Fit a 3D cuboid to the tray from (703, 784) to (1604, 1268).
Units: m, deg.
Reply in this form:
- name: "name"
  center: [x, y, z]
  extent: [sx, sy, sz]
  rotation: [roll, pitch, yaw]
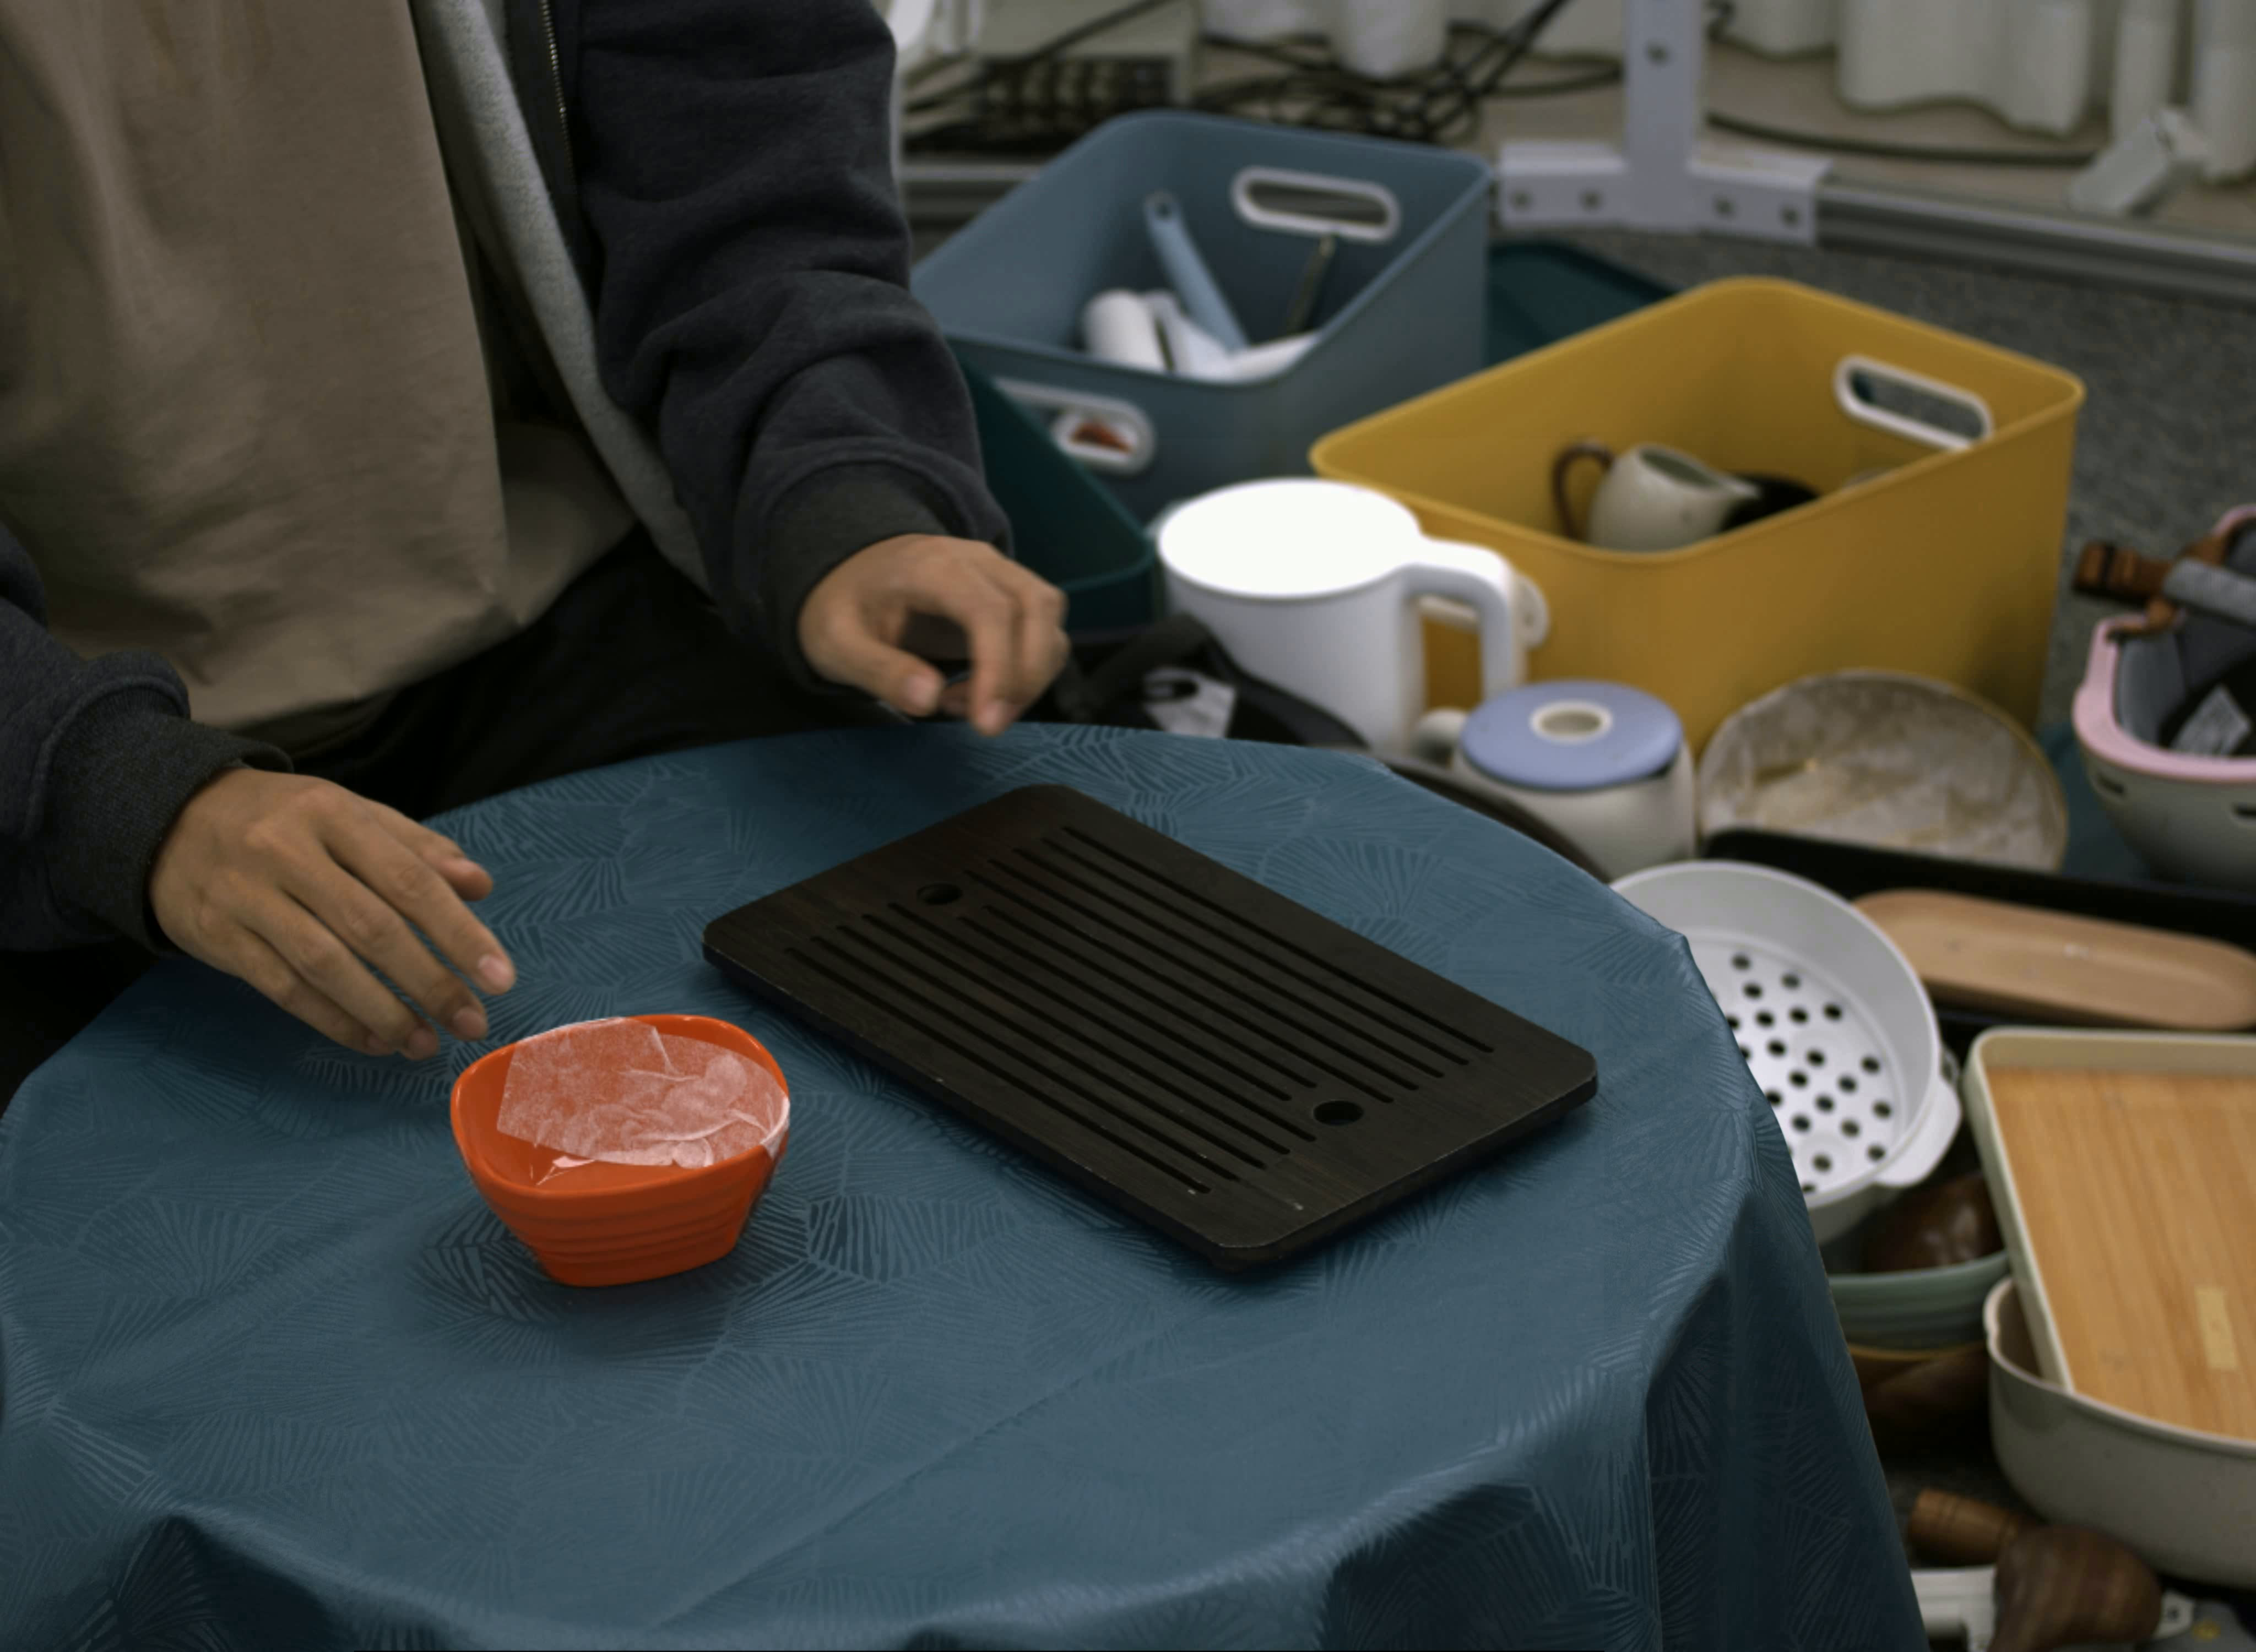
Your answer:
- name: "tray"
  center: [0.004, 0.066, 1.950]
  extent: [0.172, 0.018, 0.306]
  rotation: [-23, 33, -34]

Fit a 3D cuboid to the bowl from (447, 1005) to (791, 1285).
- name: "bowl"
  center: [-0.165, 0.110, 1.843]
  extent: [0.118, 0.051, 0.121]
  rotation: [-2, 29, 2]
